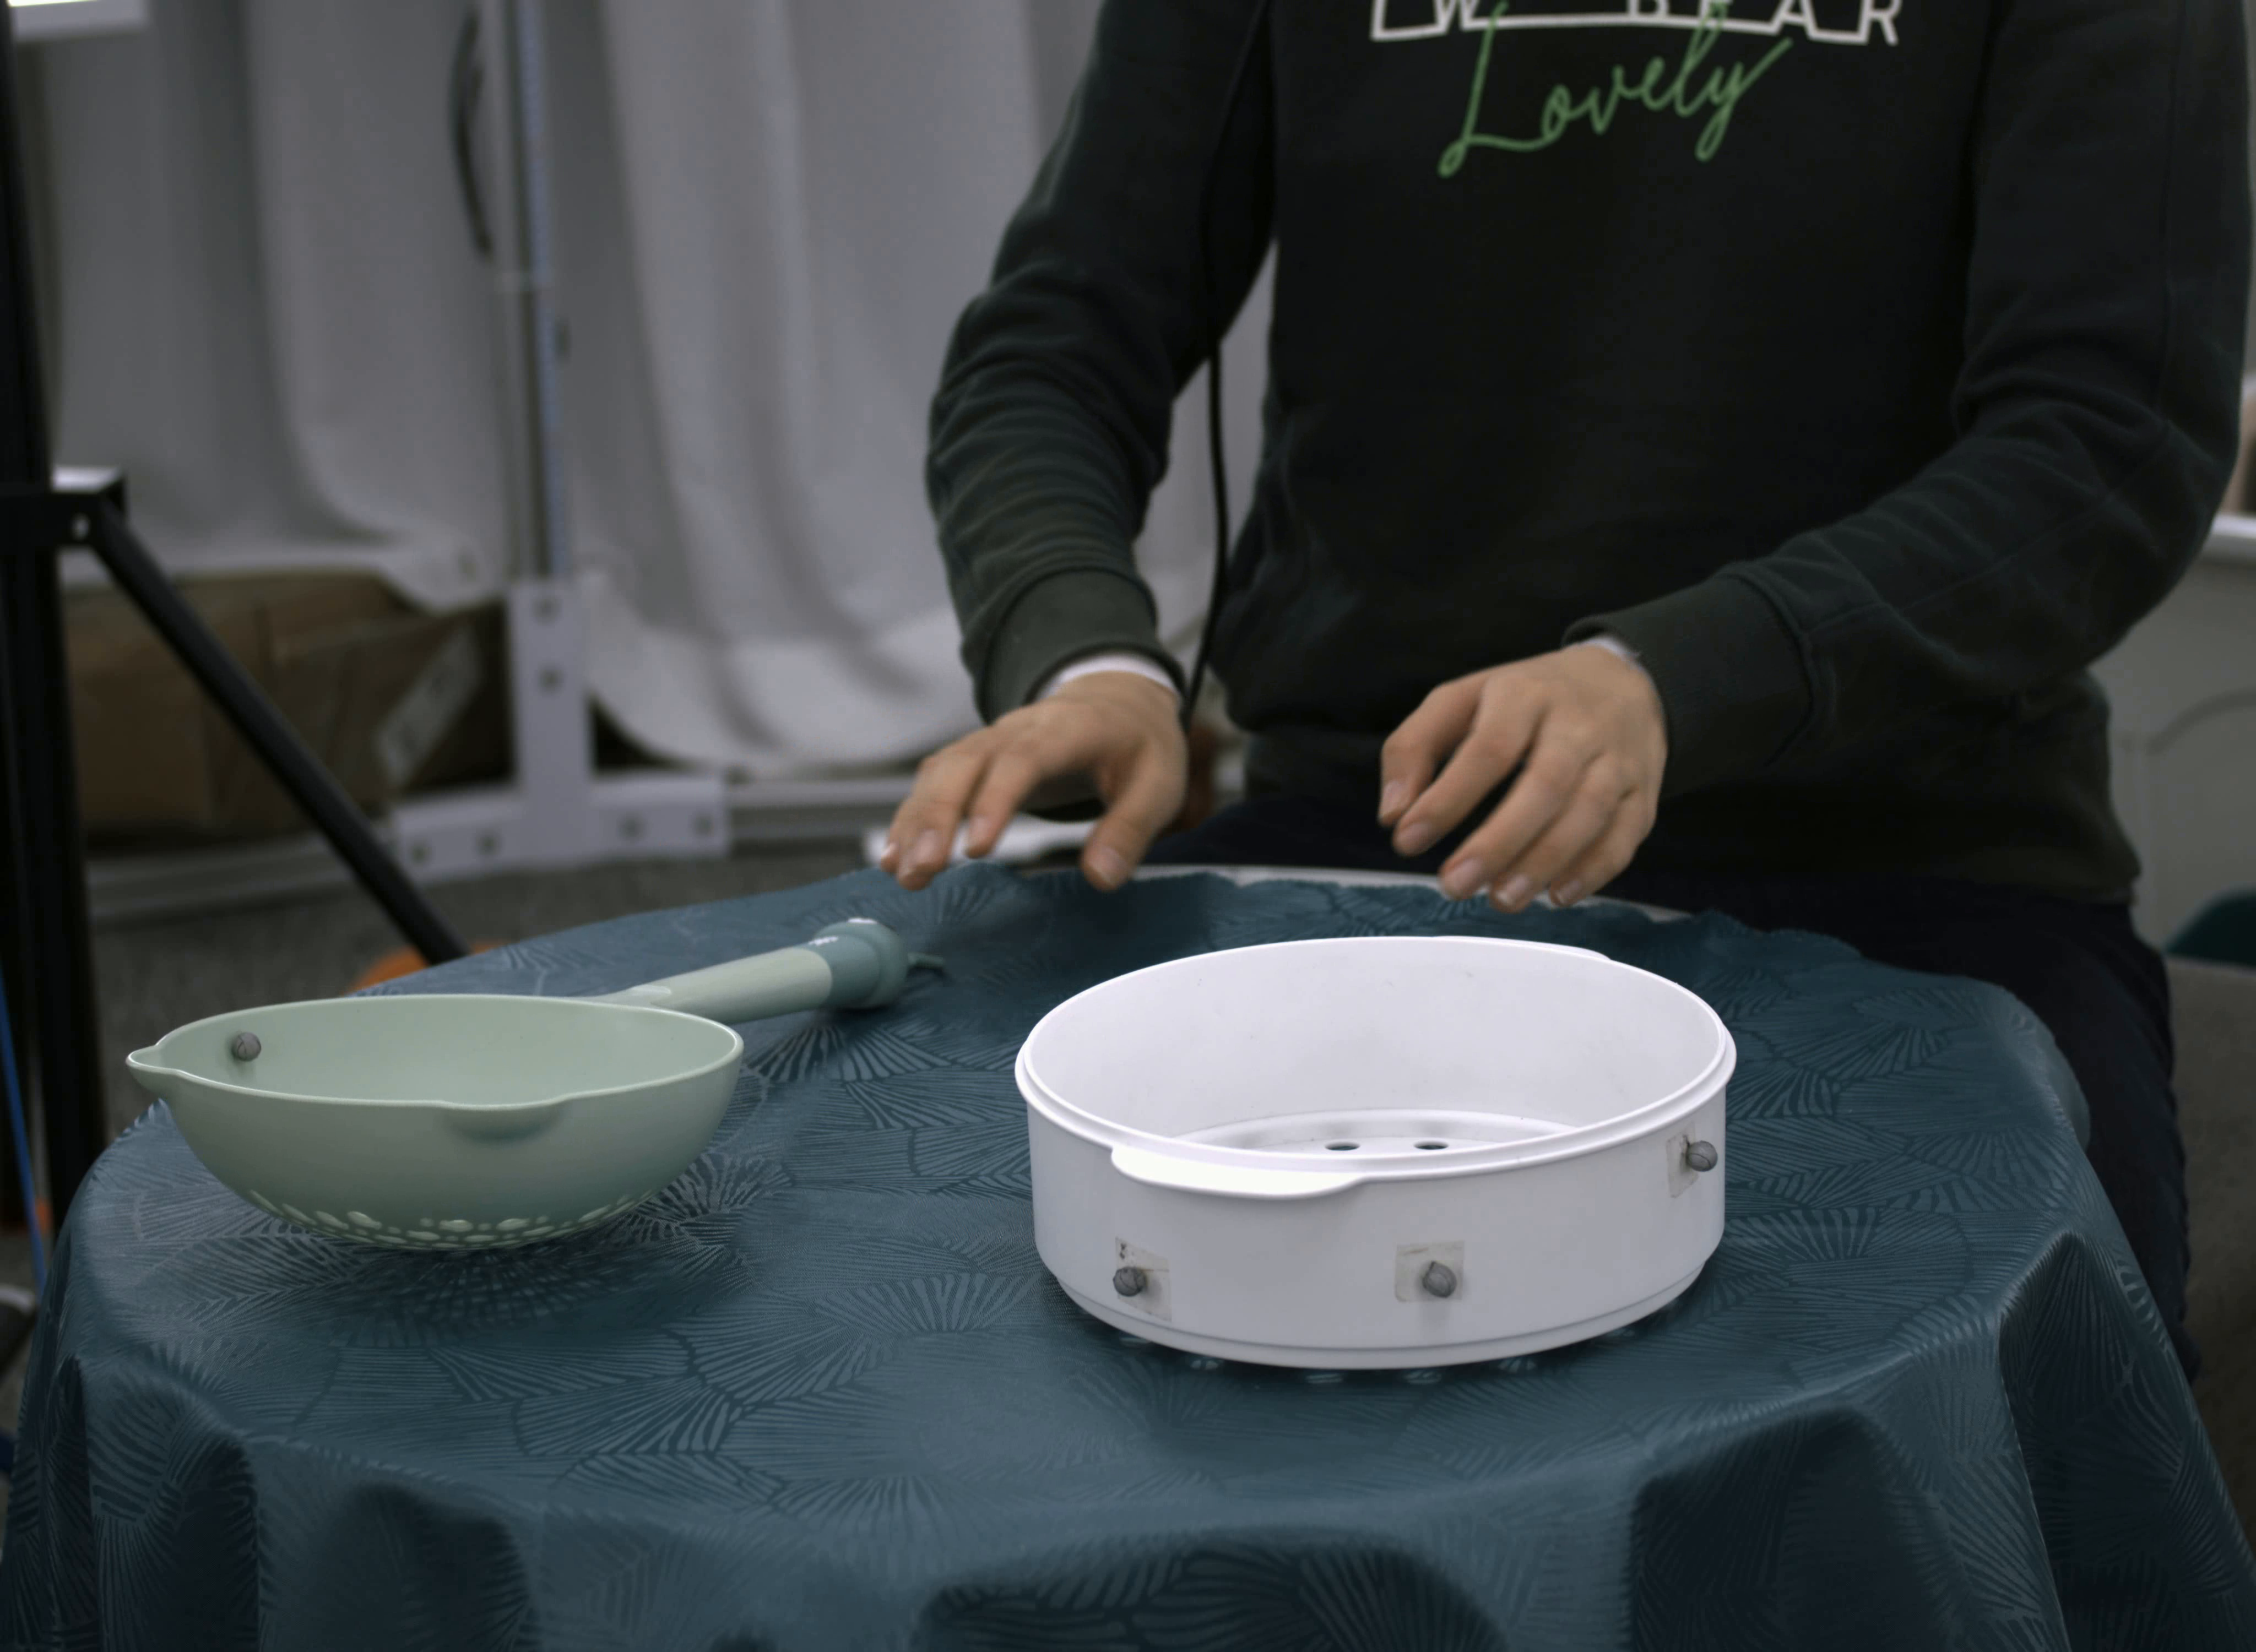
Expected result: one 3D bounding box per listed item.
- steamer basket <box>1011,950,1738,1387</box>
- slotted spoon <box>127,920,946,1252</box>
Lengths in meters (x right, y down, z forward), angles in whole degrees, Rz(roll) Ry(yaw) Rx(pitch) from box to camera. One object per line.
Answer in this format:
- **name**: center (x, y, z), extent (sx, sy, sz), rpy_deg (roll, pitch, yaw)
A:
- **steamer basket**: center (0.068, 0.095, 1.476), extent (0.205, 0.069, 0.227), rpy_deg (6, 17, 24)
- **slotted spoon**: center (-0.150, 0.063, 1.622), extent (0.172, 0.075, 0.353), rpy_deg (5, 18, 28)
